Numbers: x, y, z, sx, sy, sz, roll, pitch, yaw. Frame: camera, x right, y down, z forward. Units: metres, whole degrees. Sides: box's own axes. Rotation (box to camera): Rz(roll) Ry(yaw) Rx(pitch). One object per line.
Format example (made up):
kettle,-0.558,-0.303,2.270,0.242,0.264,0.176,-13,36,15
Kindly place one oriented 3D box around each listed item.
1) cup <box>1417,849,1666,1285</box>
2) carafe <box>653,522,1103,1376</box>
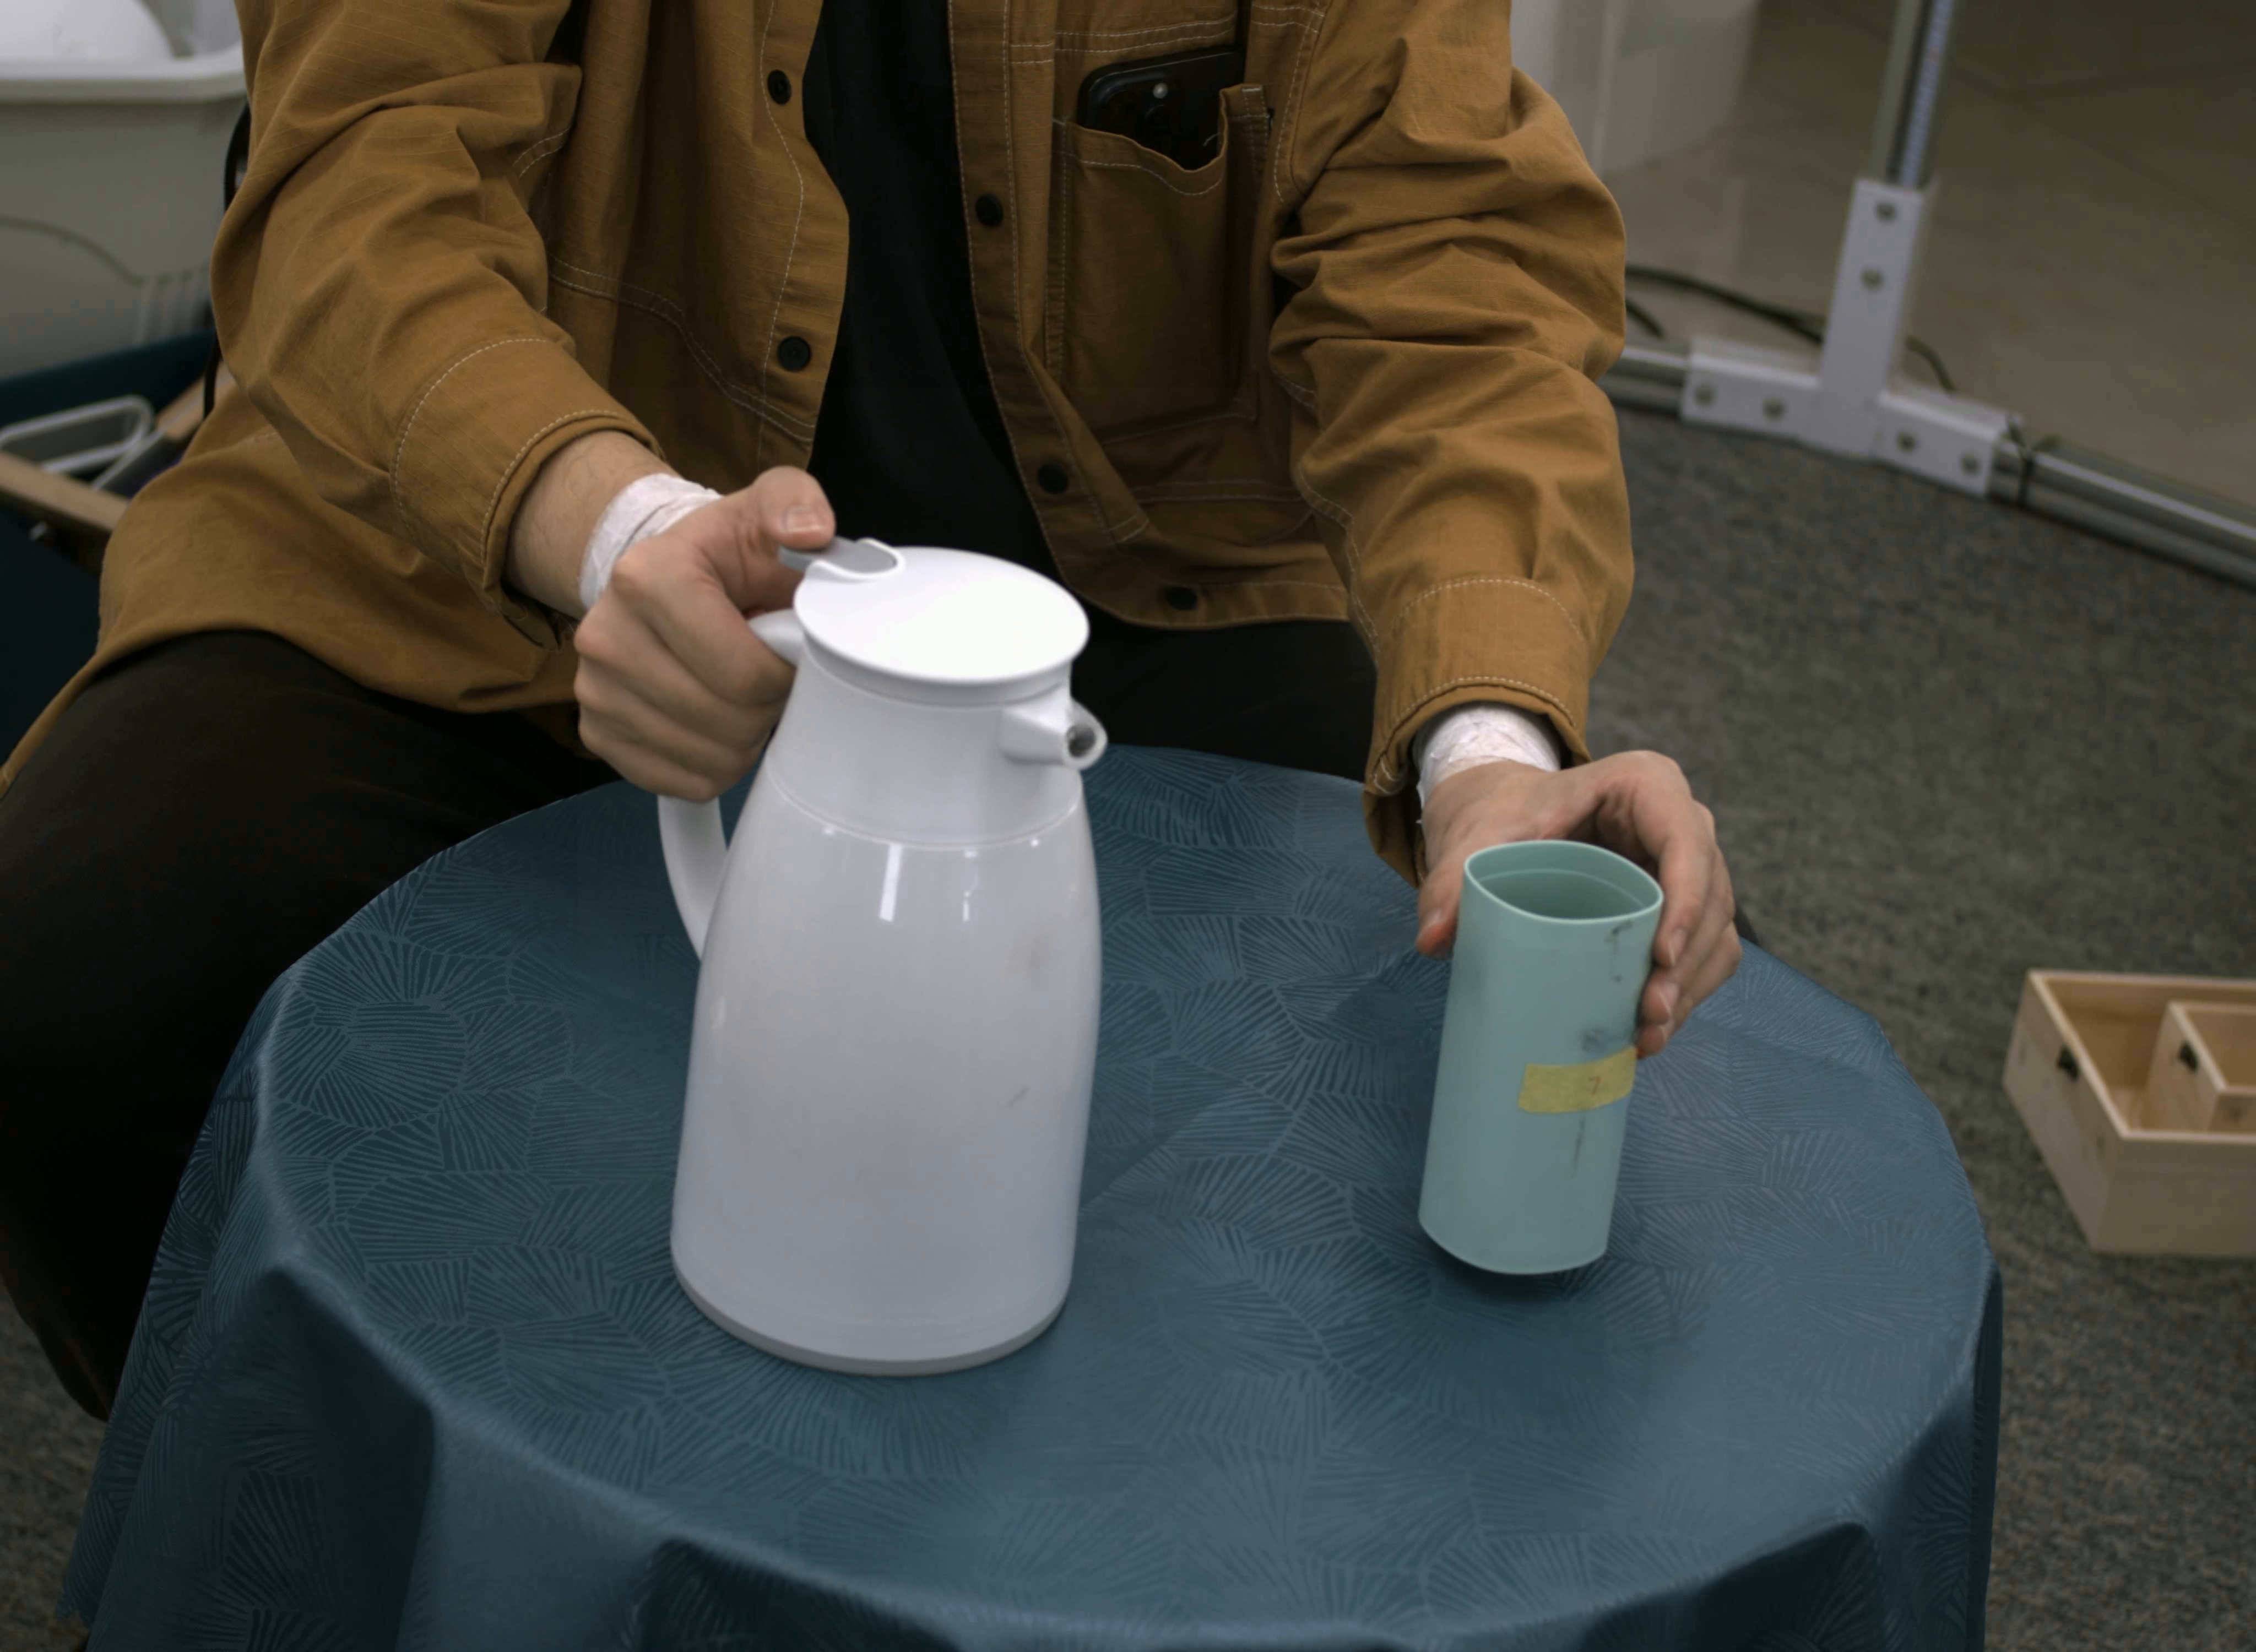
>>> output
cup,0.135,0.079,1.763,0.066,0.132,0.067,6,23,-3
carafe,-0.087,0.029,1.698,0.169,0.248,0.132,25,32,32
